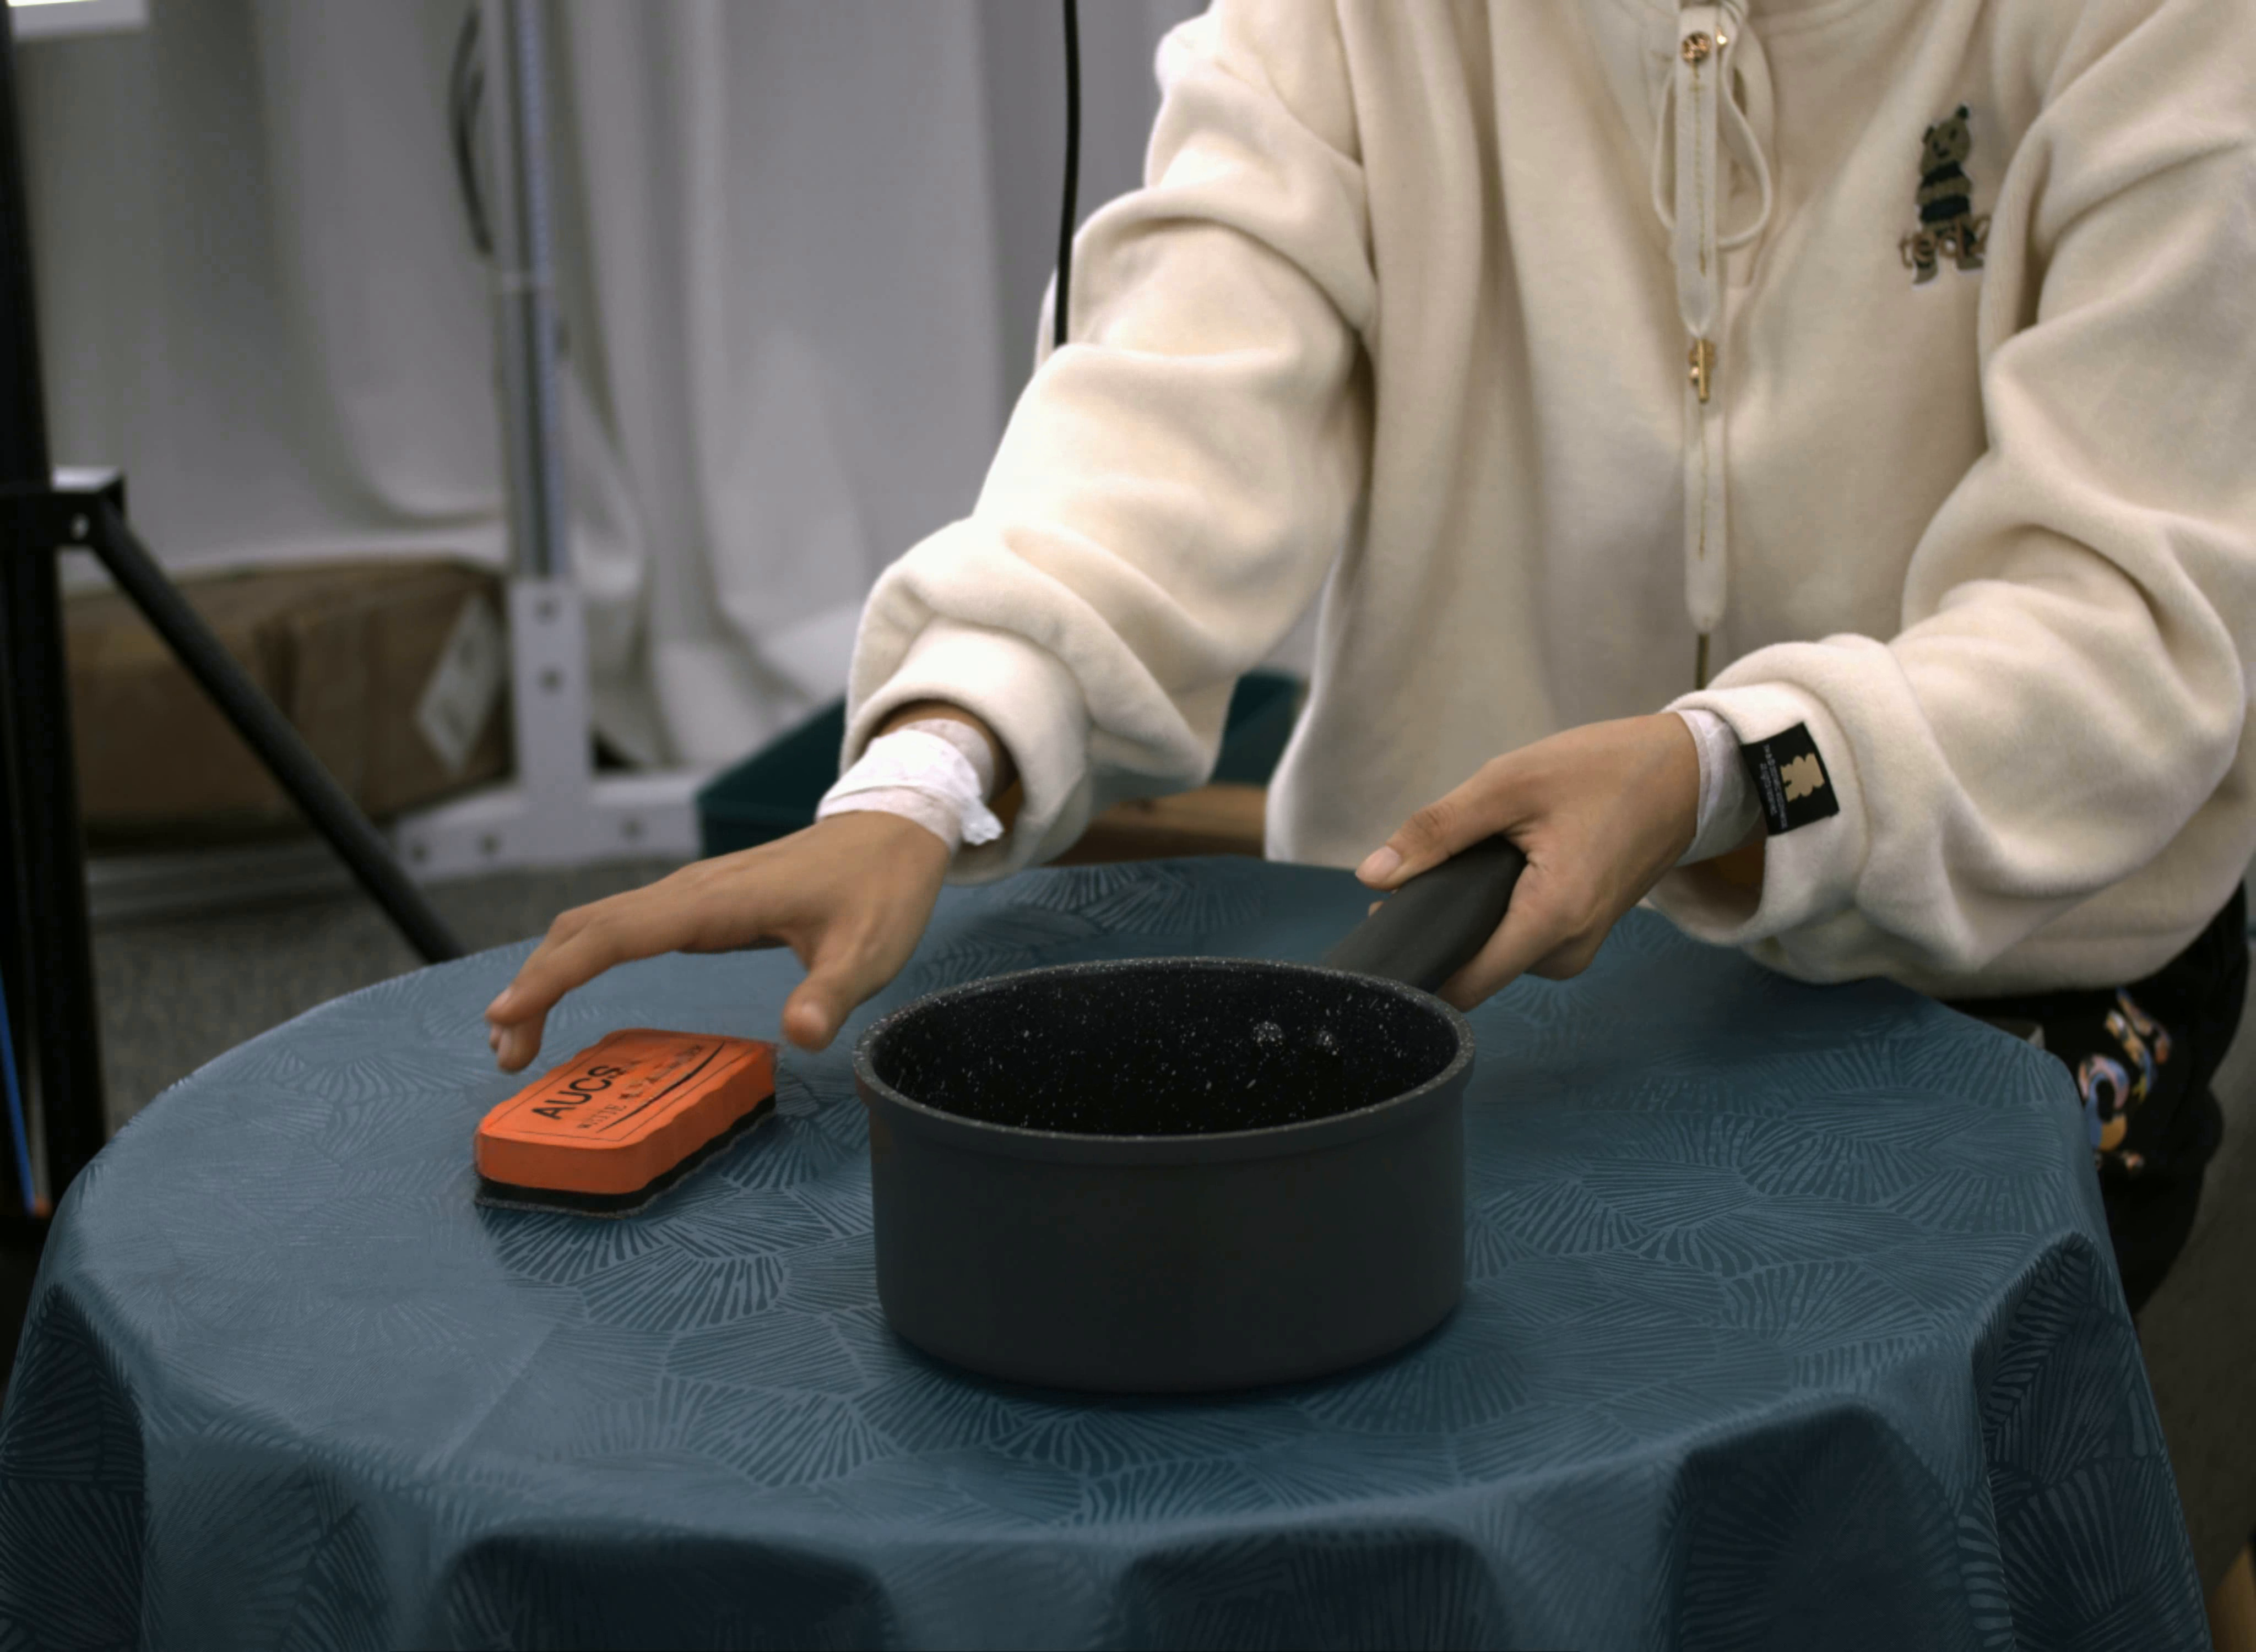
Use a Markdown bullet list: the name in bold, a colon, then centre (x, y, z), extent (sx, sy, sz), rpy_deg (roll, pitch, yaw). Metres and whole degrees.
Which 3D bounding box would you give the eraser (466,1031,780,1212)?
- **eraser**: centre (-0.151, 0.089, 1.609), extent (0.060, 0.023, 0.106), rpy_deg (2, 16, 24)

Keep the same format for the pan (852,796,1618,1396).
- **pan**: centre (0.052, 0.073, 1.519), extent (0.175, 0.086, 0.322), rpy_deg (8, 19, 32)
